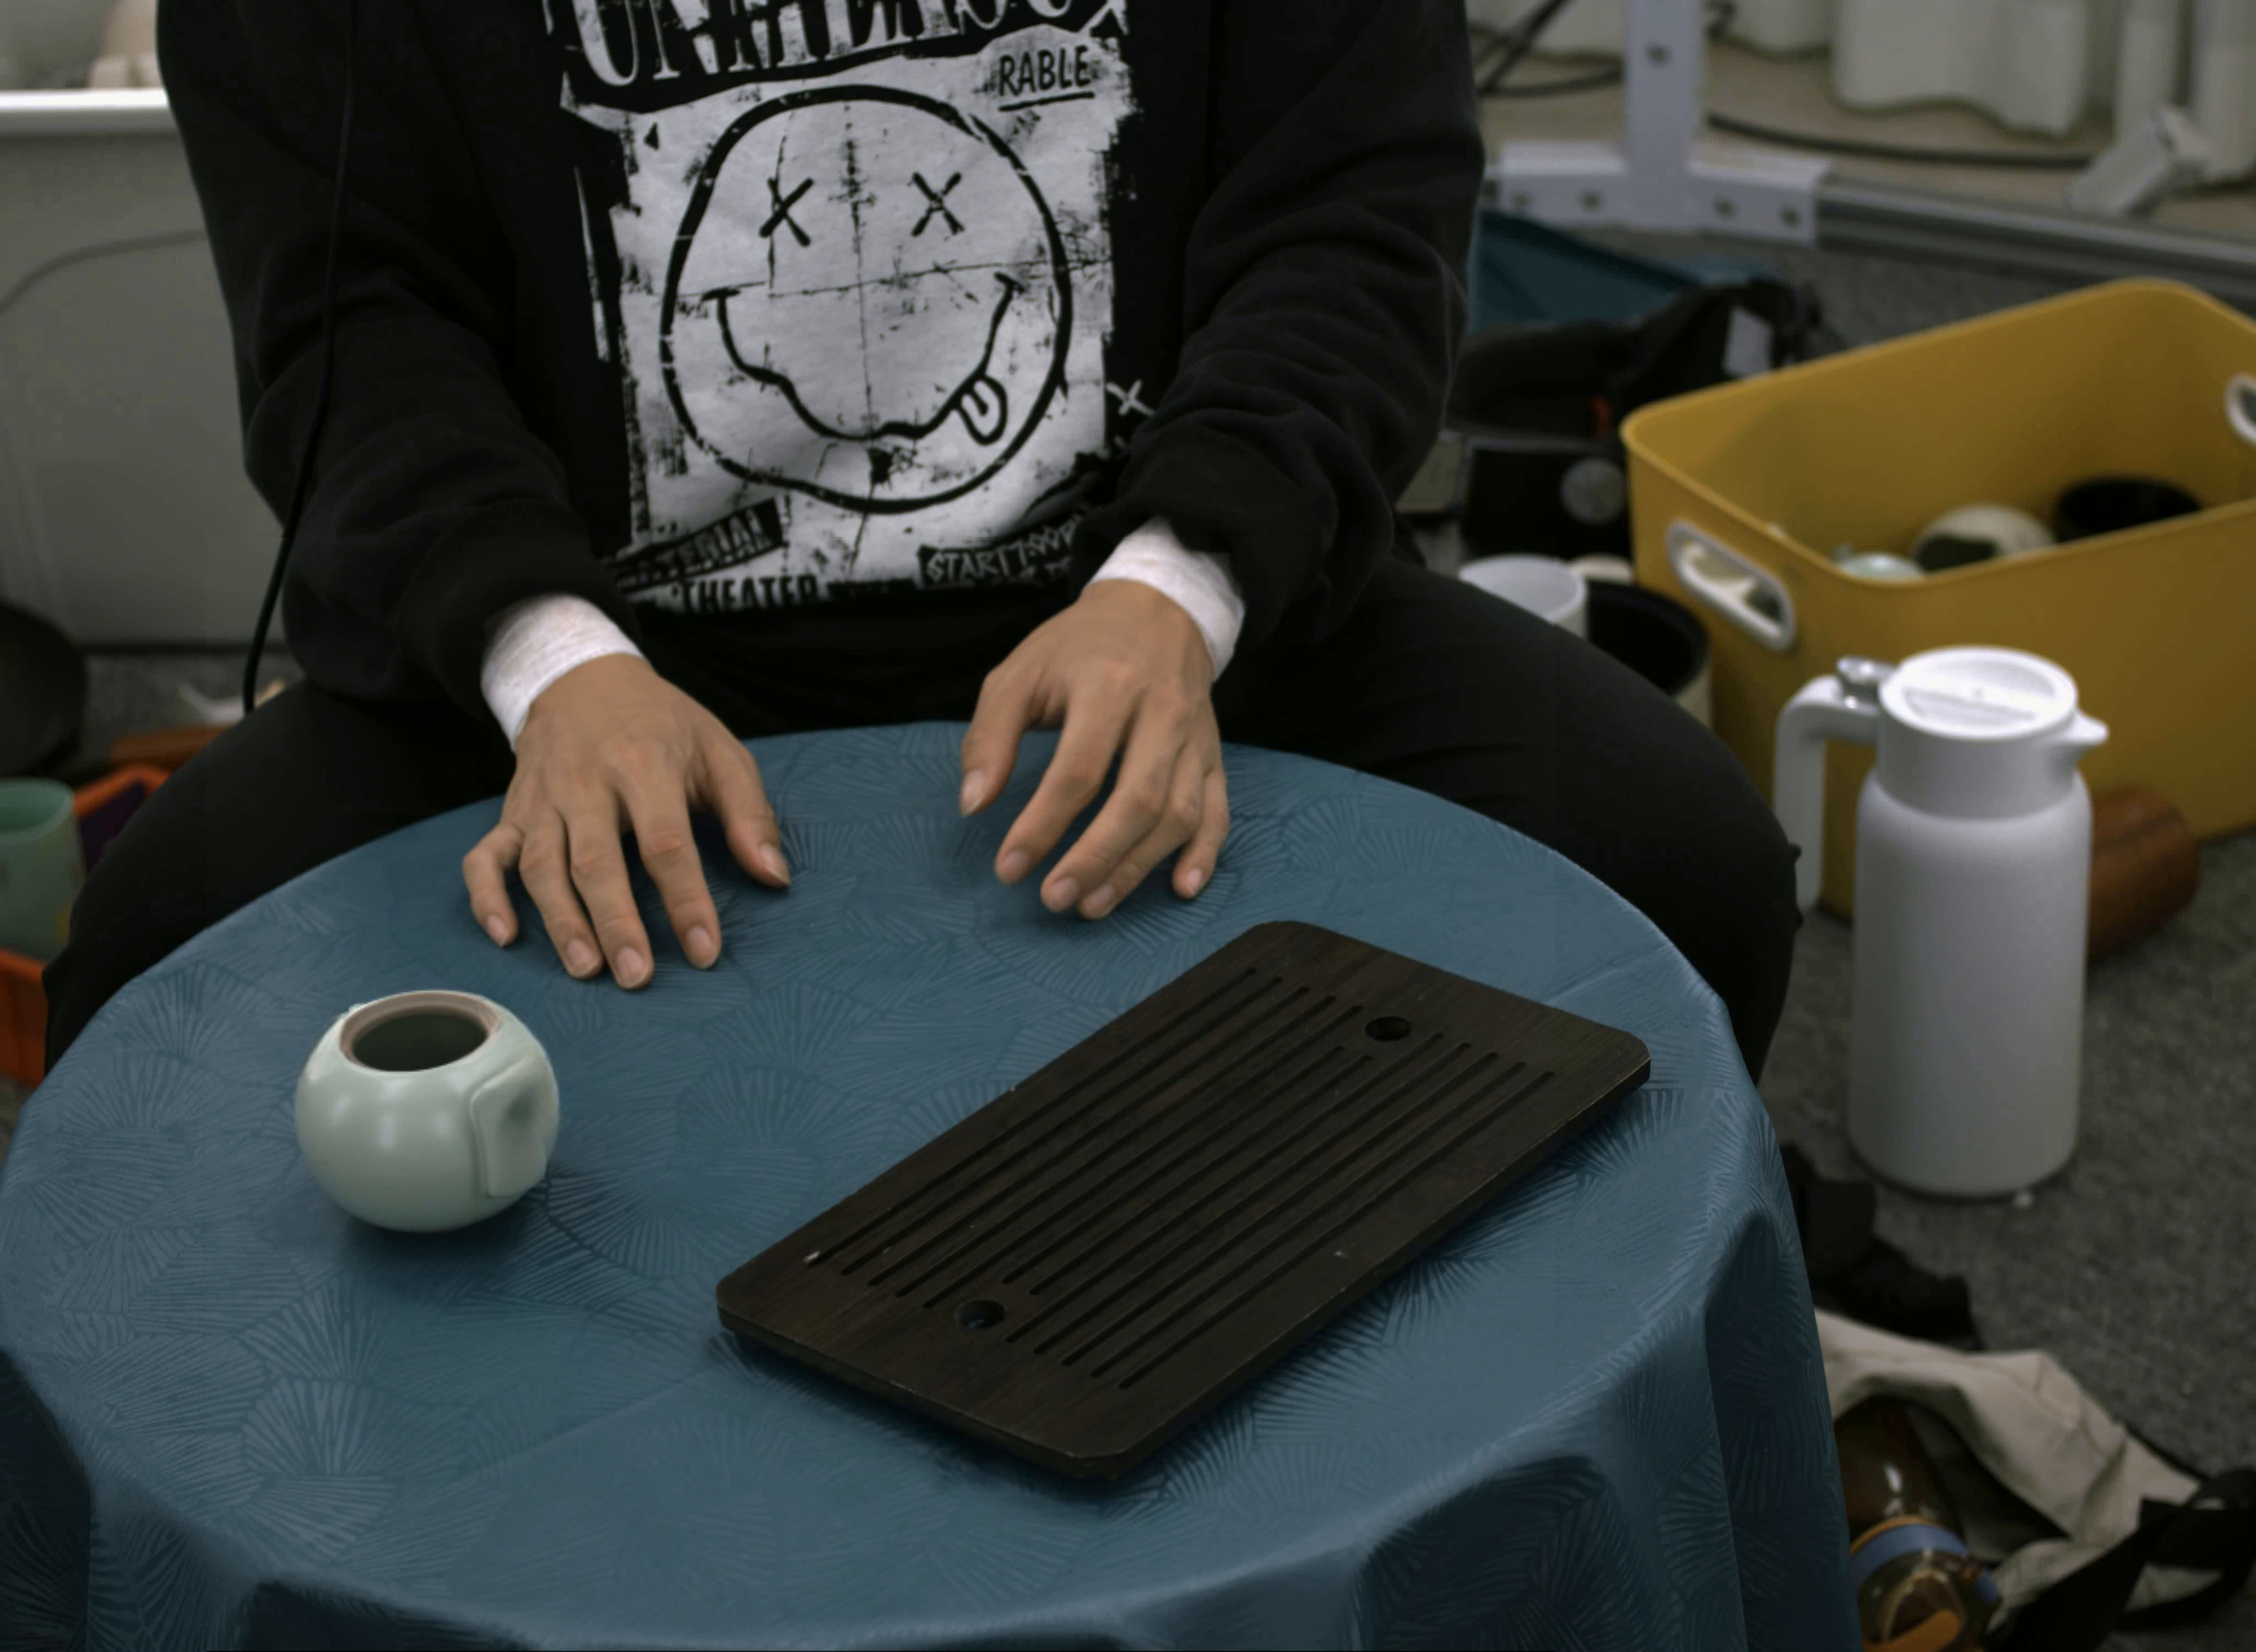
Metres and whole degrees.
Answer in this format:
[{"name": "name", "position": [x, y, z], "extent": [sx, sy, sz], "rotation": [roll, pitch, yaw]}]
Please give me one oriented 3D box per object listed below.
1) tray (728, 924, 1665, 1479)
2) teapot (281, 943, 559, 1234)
[{"name": "tray", "position": [0.027, 0.120, 1.840], "extent": [0.169, 0.018, 0.310], "rotation": [18, 34, 35]}, {"name": "teapot", "position": [-0.232, 0.094, 1.858], "extent": [0.089, 0.074, 0.144], "rotation": [-24, 35, -36]}]
